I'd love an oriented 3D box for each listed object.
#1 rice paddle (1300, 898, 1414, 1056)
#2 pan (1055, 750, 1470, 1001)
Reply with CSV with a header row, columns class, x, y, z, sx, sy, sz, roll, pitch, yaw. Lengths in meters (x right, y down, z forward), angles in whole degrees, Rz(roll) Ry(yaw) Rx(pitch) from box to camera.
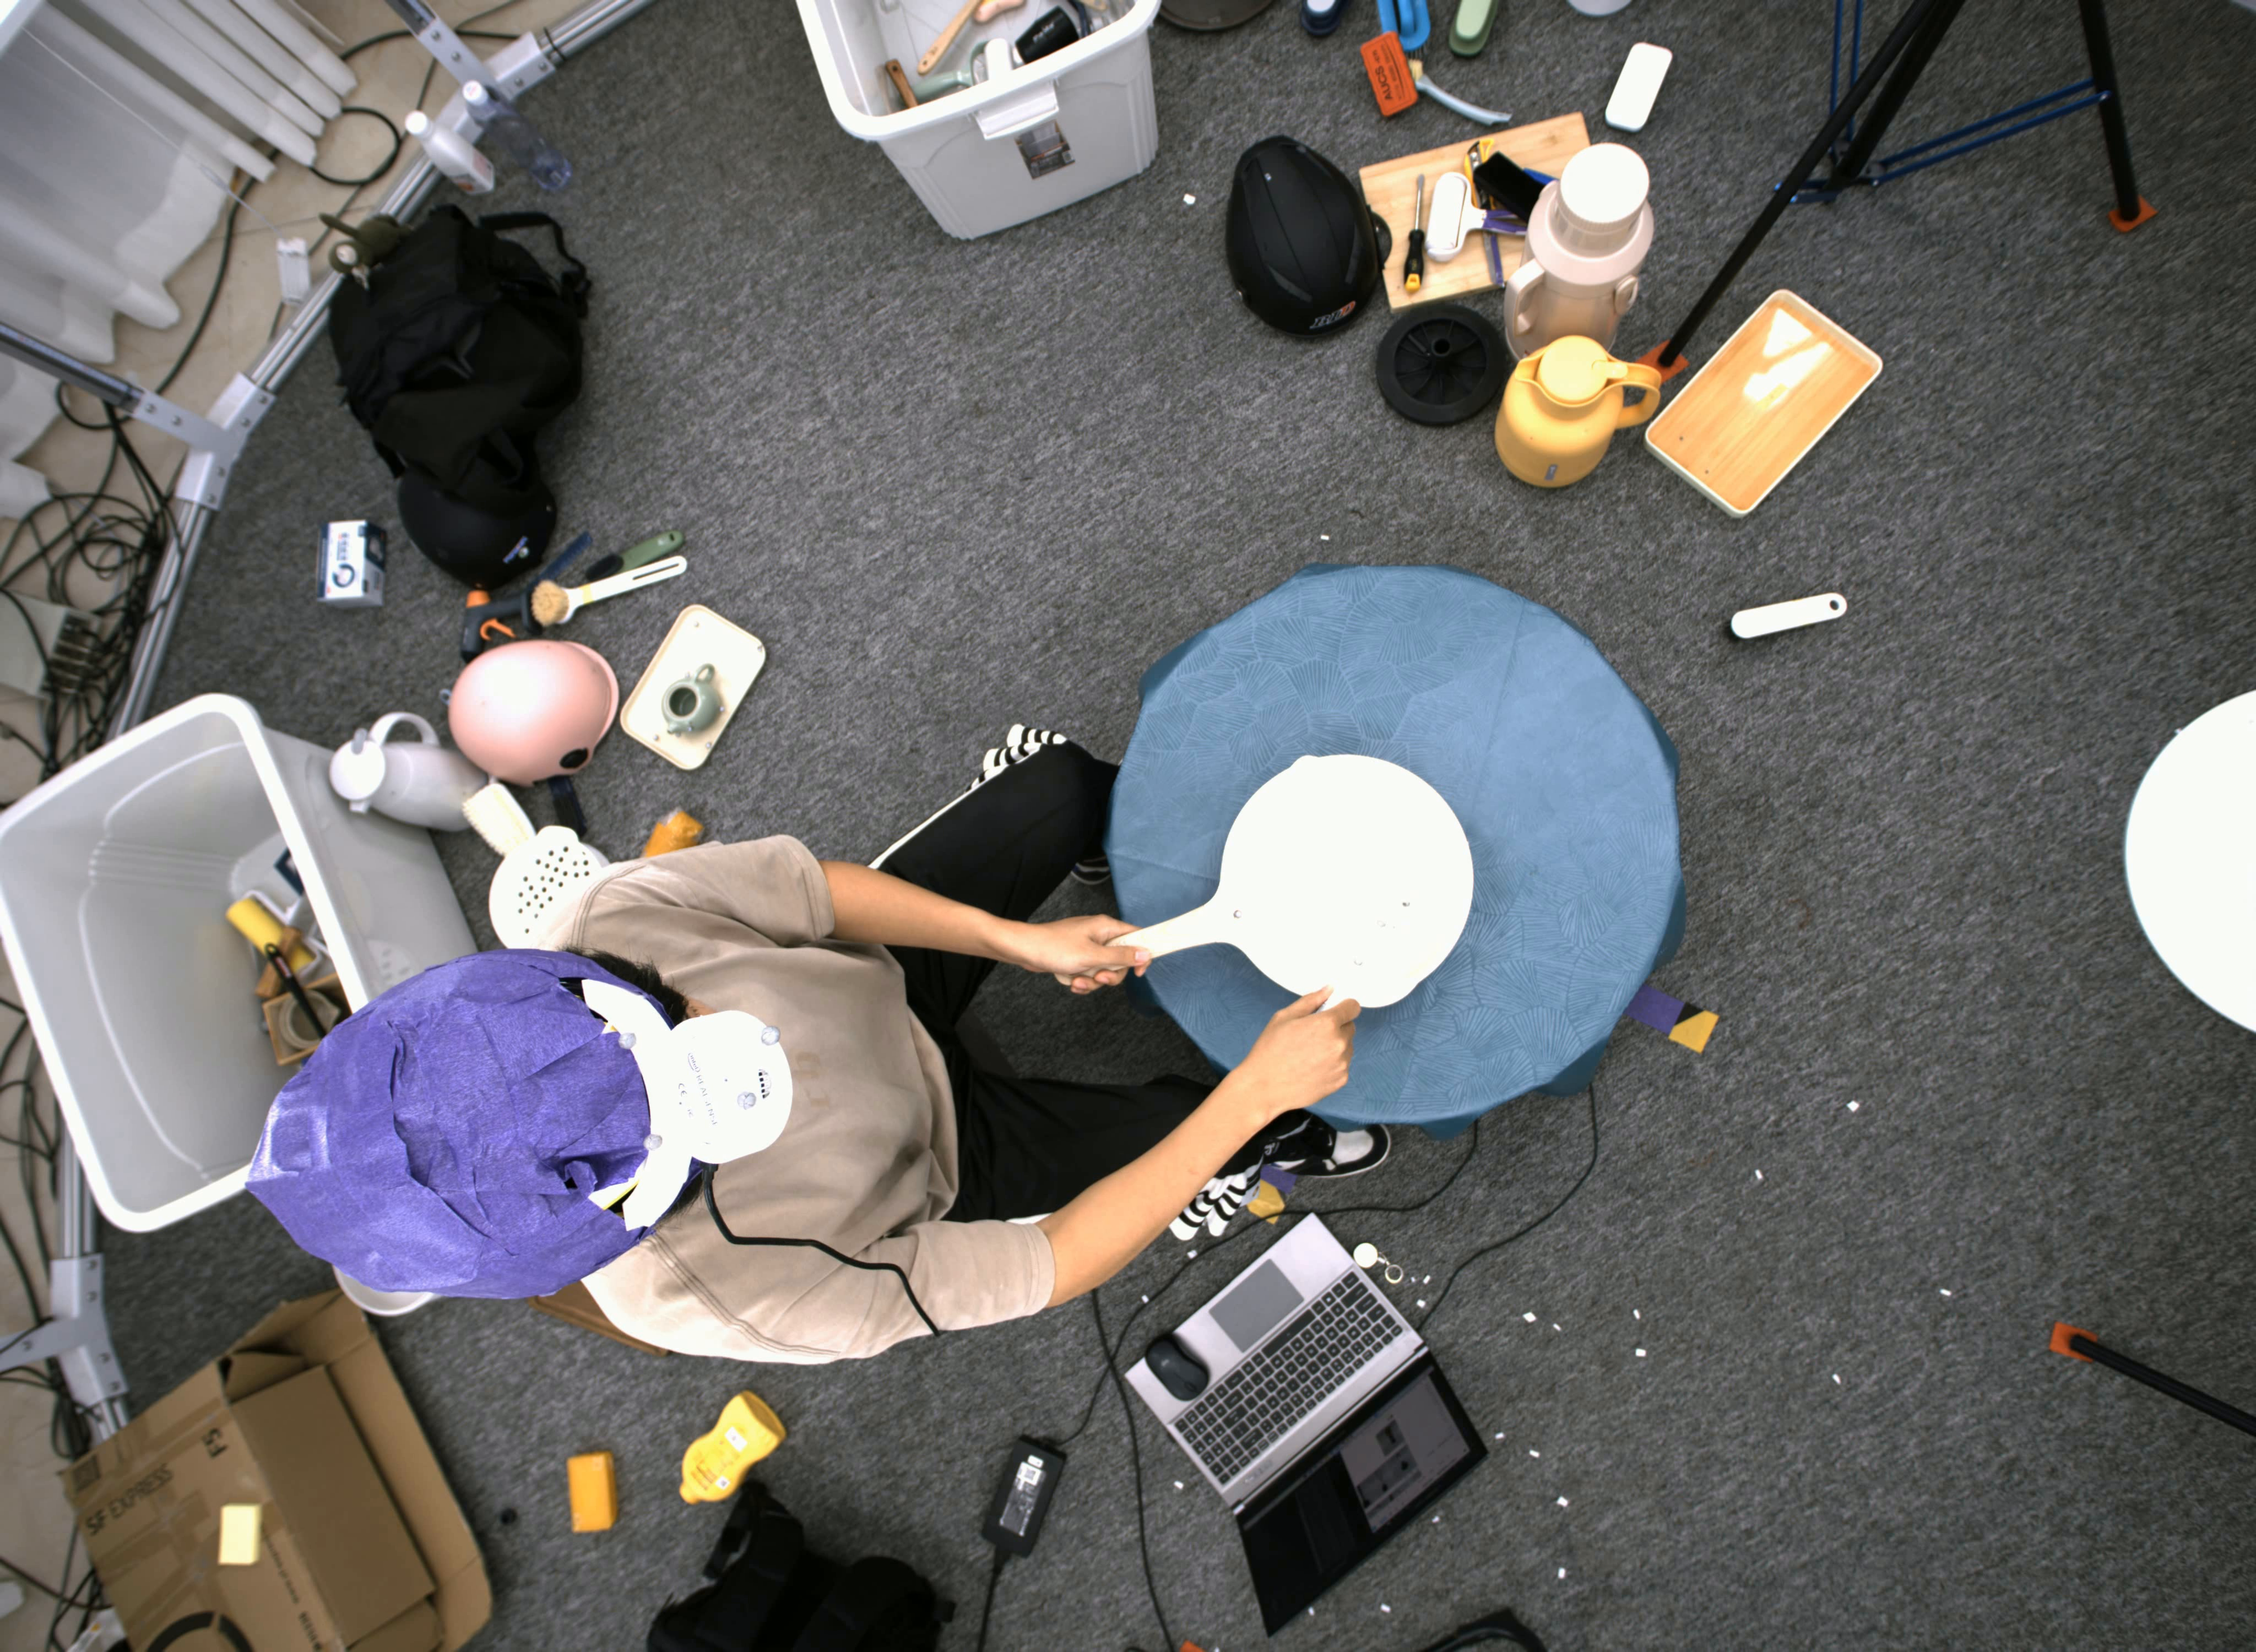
class,x,y,z,sx,sy,sz,roll,pitch,yaw
rice paddle,0.225,0.137,1.346,0.029,0.070,0.200,43,58,-7
pan,0.136,0.081,1.437,0.437,0.102,0.262,-20,85,9
